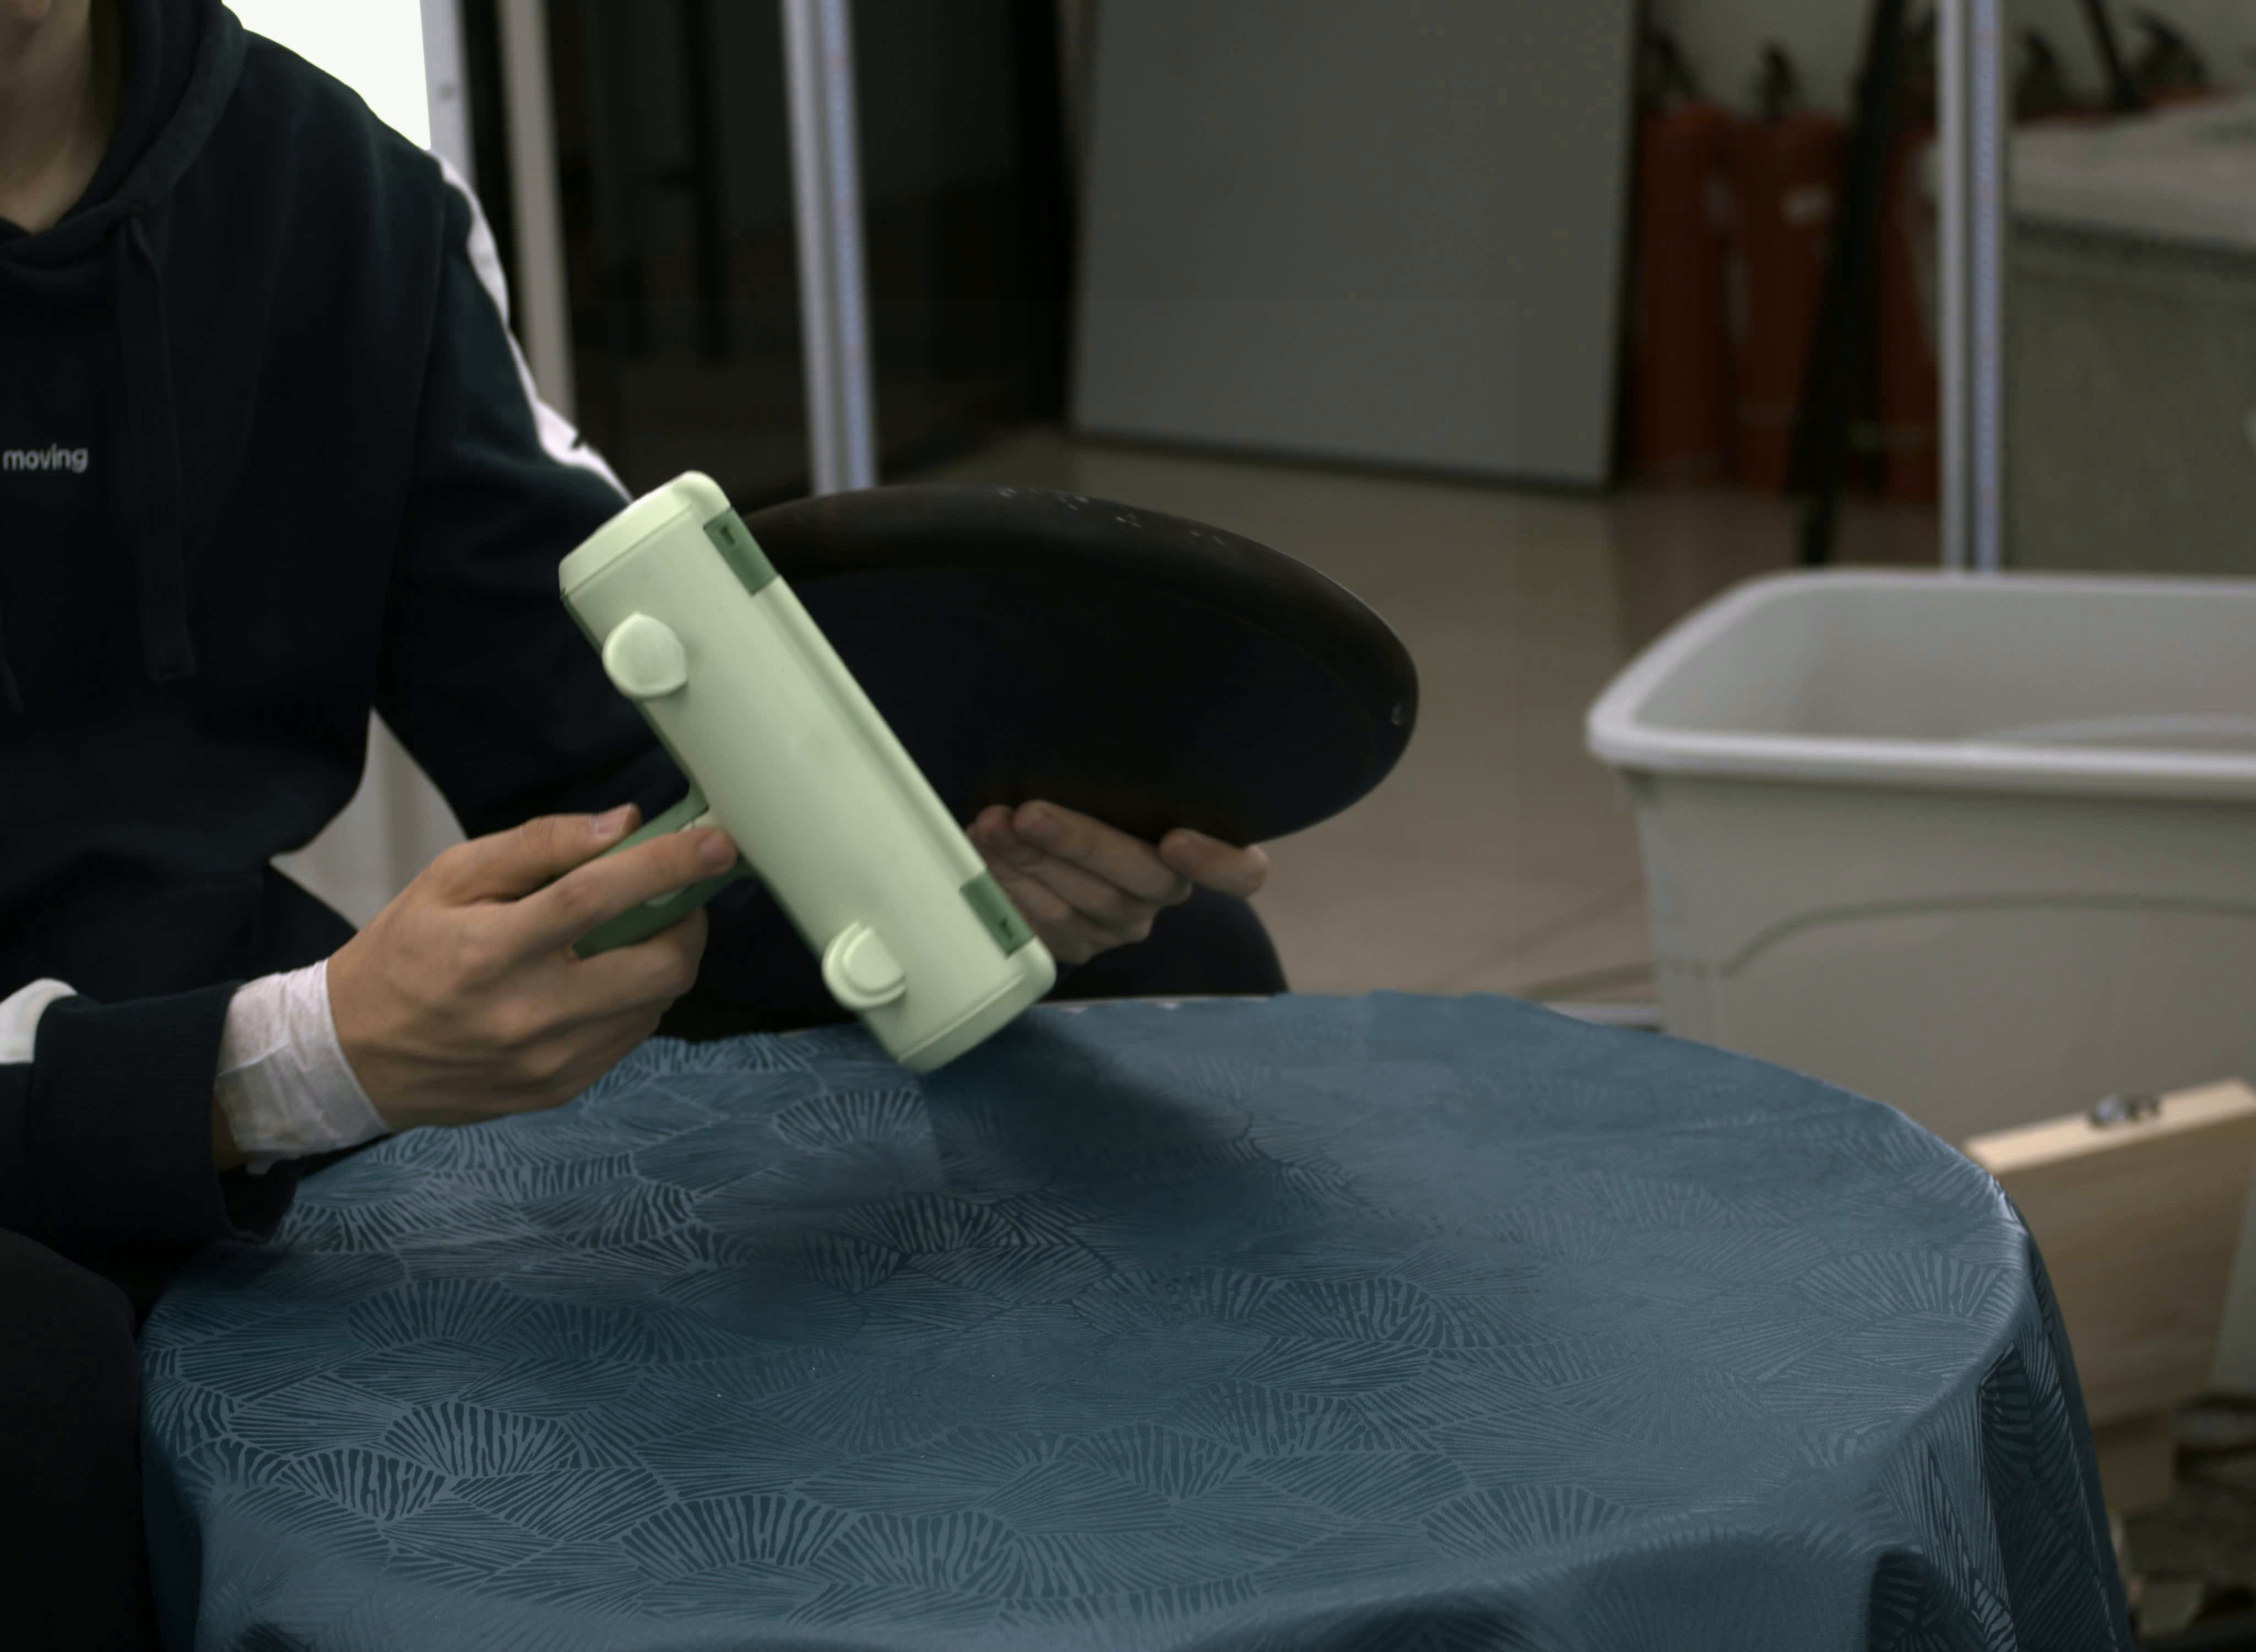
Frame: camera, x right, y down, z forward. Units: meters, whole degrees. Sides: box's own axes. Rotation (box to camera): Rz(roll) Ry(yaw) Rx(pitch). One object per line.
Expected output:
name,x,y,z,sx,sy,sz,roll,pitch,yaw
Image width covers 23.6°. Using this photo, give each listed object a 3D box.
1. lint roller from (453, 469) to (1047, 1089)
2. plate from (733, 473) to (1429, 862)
lint roller,-0.147,0.018,1.667,0.184,0.199,0.081,-34,2,18
plate,-0.028,-0.046,1.752,0.252,0.029,0.255,6,-23,2
